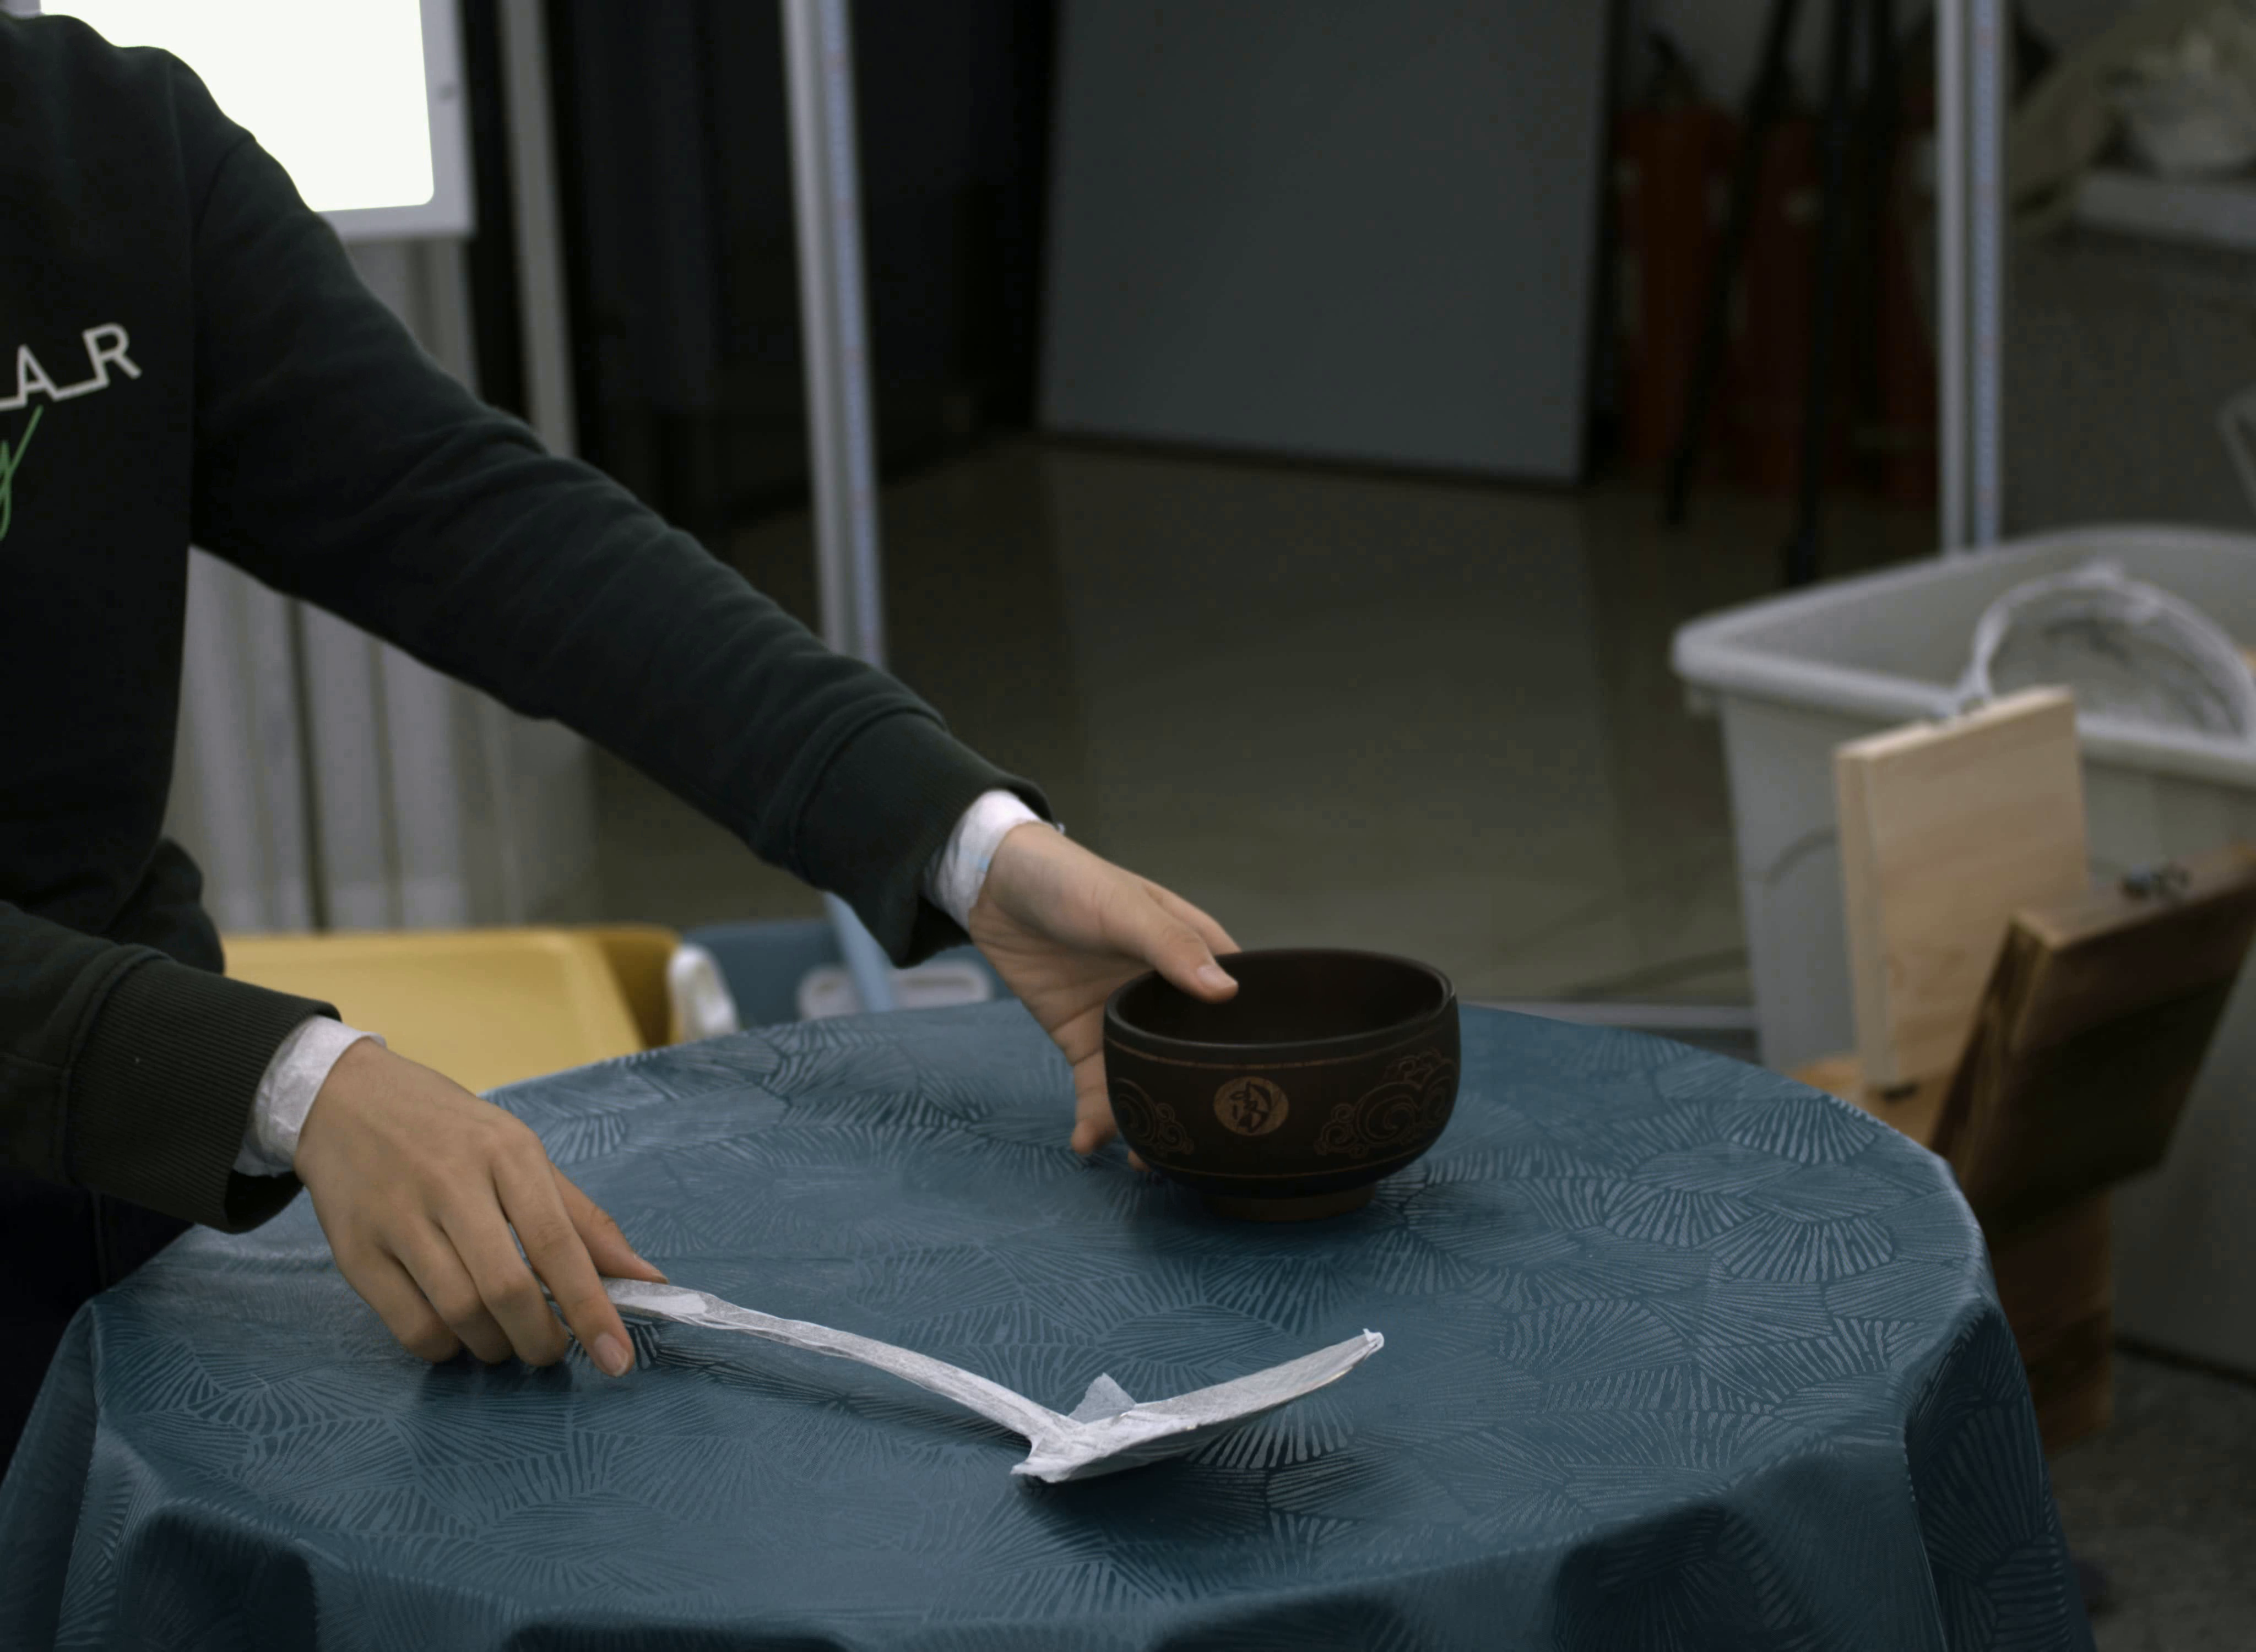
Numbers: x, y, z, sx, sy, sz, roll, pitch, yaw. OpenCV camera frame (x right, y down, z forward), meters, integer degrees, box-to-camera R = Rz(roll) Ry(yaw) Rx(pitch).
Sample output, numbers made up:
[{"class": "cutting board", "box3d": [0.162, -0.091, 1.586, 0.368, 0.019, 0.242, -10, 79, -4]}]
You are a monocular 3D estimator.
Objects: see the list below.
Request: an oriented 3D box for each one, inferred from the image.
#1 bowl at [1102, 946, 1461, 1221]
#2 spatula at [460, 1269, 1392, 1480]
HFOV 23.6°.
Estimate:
[{"class": "bowl", "box3d": [0.051, 0.087, 1.747, 0.116, 0.070, 0.118, -4, 12, 0]}, {"class": "spatula", "box3d": [-0.081, 0.150, 1.597, 0.368, 0.045, 0.097, 8, 20, 41]}]
